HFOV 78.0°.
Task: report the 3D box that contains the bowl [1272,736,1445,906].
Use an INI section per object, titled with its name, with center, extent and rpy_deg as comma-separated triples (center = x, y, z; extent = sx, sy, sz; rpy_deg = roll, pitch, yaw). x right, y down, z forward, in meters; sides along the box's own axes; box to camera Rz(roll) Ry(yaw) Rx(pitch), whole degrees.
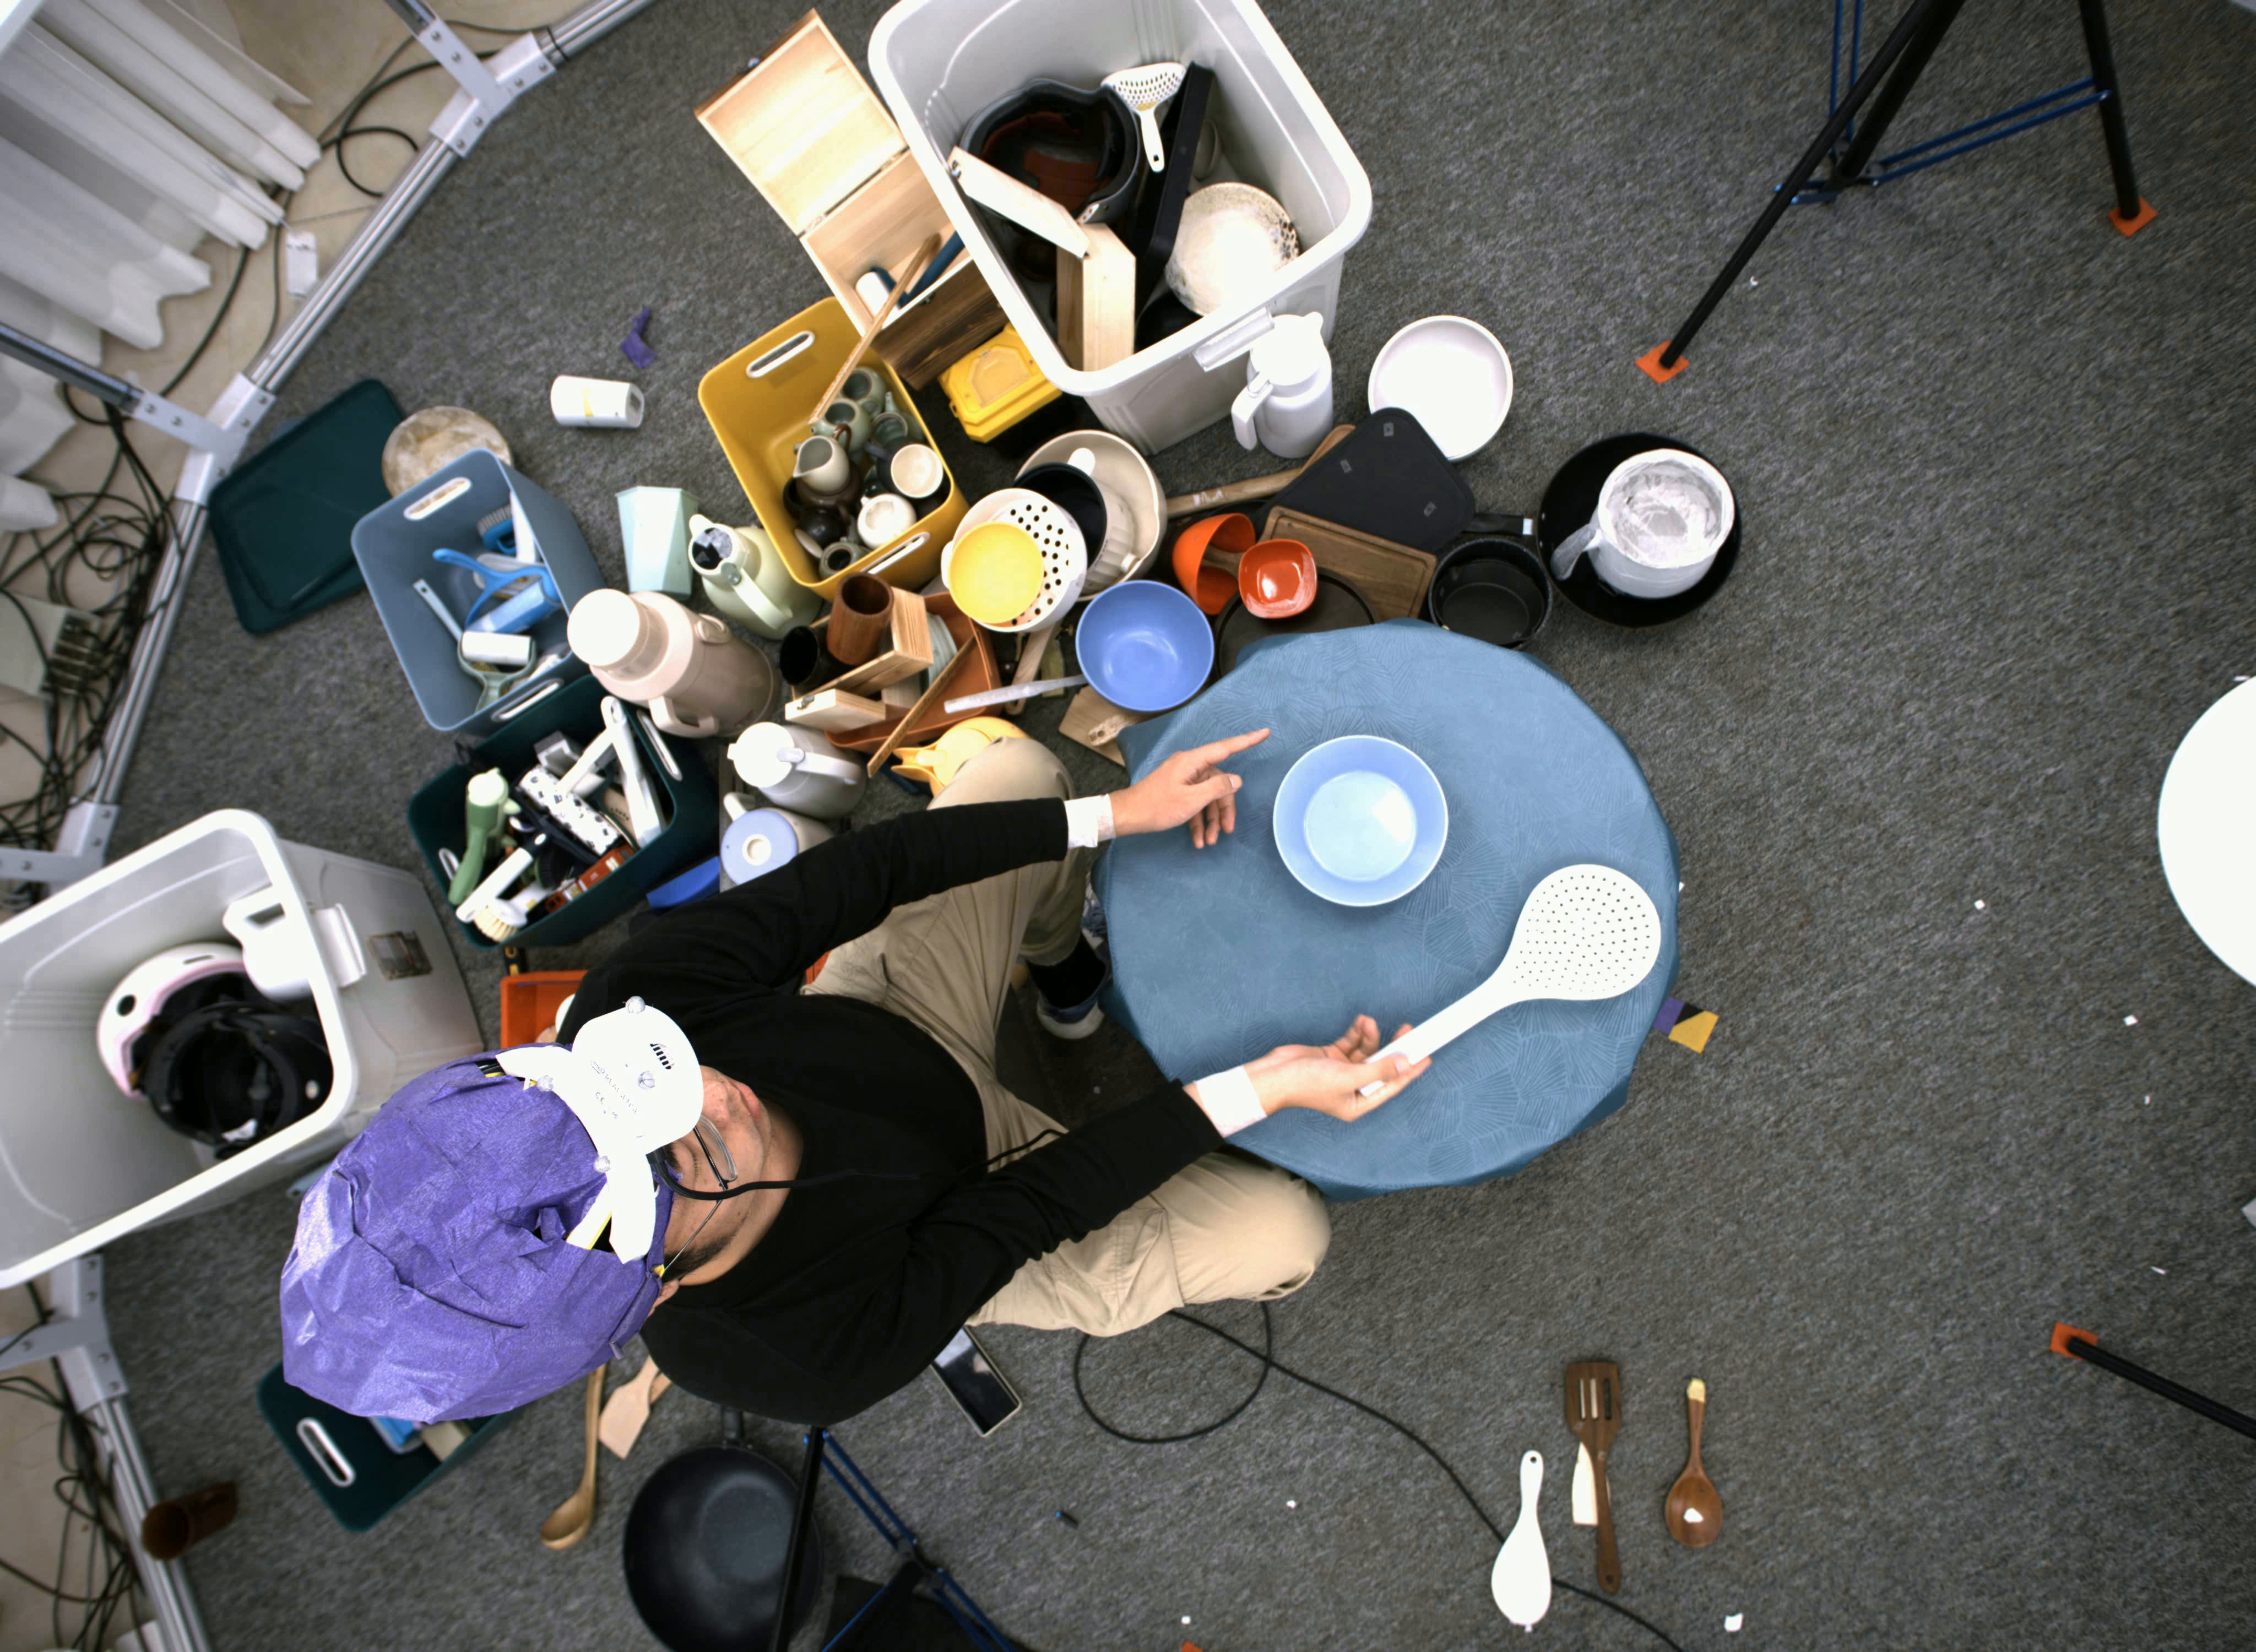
[bowl]
center = 0.240, -0.004, 1.434
extent = 0.177, 0.070, 0.175
rpy_deg = -1, 87, 11

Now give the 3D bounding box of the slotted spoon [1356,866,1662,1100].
[slotted spoon]
center = 0.378, 0.166, 1.386
extent = 0.348, 0.046, 0.135
rpy_deg = -33, 77, -5
